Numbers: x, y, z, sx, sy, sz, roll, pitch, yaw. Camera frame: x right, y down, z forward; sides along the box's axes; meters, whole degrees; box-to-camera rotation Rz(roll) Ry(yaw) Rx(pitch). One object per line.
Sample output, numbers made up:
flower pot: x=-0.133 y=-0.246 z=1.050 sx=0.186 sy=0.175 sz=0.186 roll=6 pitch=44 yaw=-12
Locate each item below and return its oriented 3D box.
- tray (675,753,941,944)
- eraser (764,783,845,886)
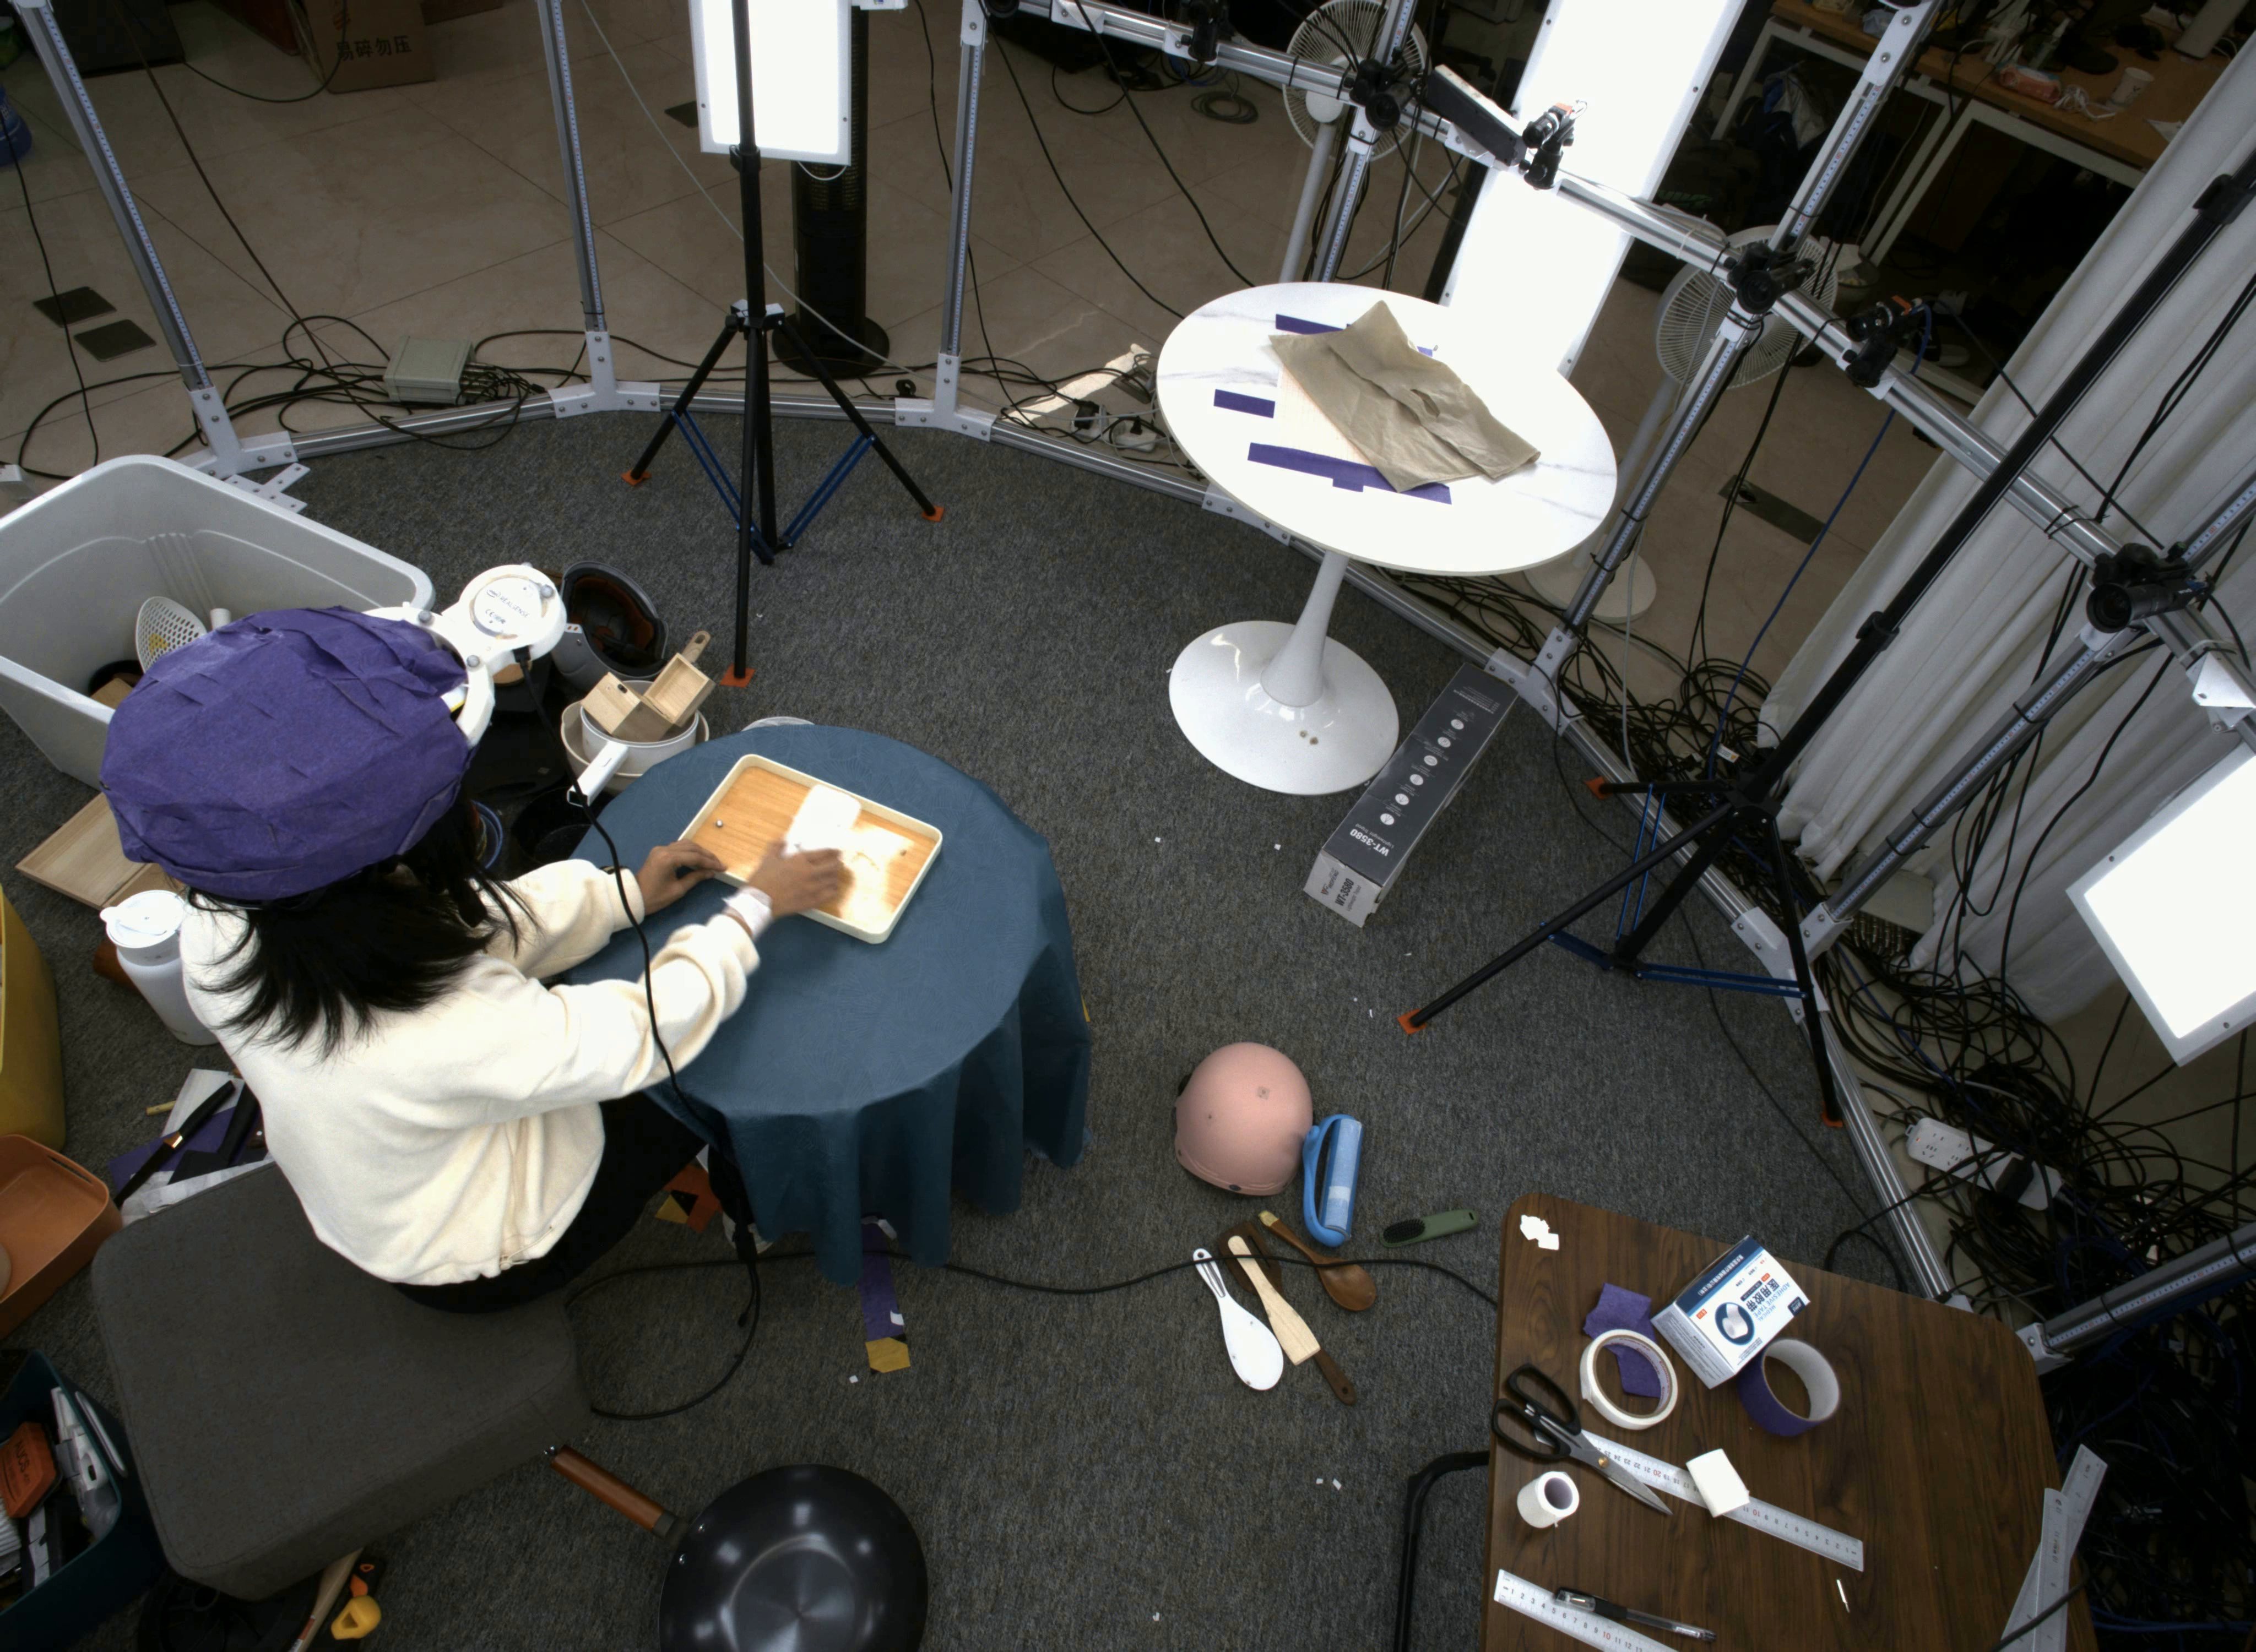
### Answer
tray: x=-0.412 y=0.024 z=1.687 sx=0.297 sy=0.028 sz=0.190 roll=22 pitch=51 yaw=2
eraser: x=-0.406 y=0.008 z=1.626 sx=0.063 sy=0.035 sz=0.130 roll=23 pitch=63 yaw=-4
